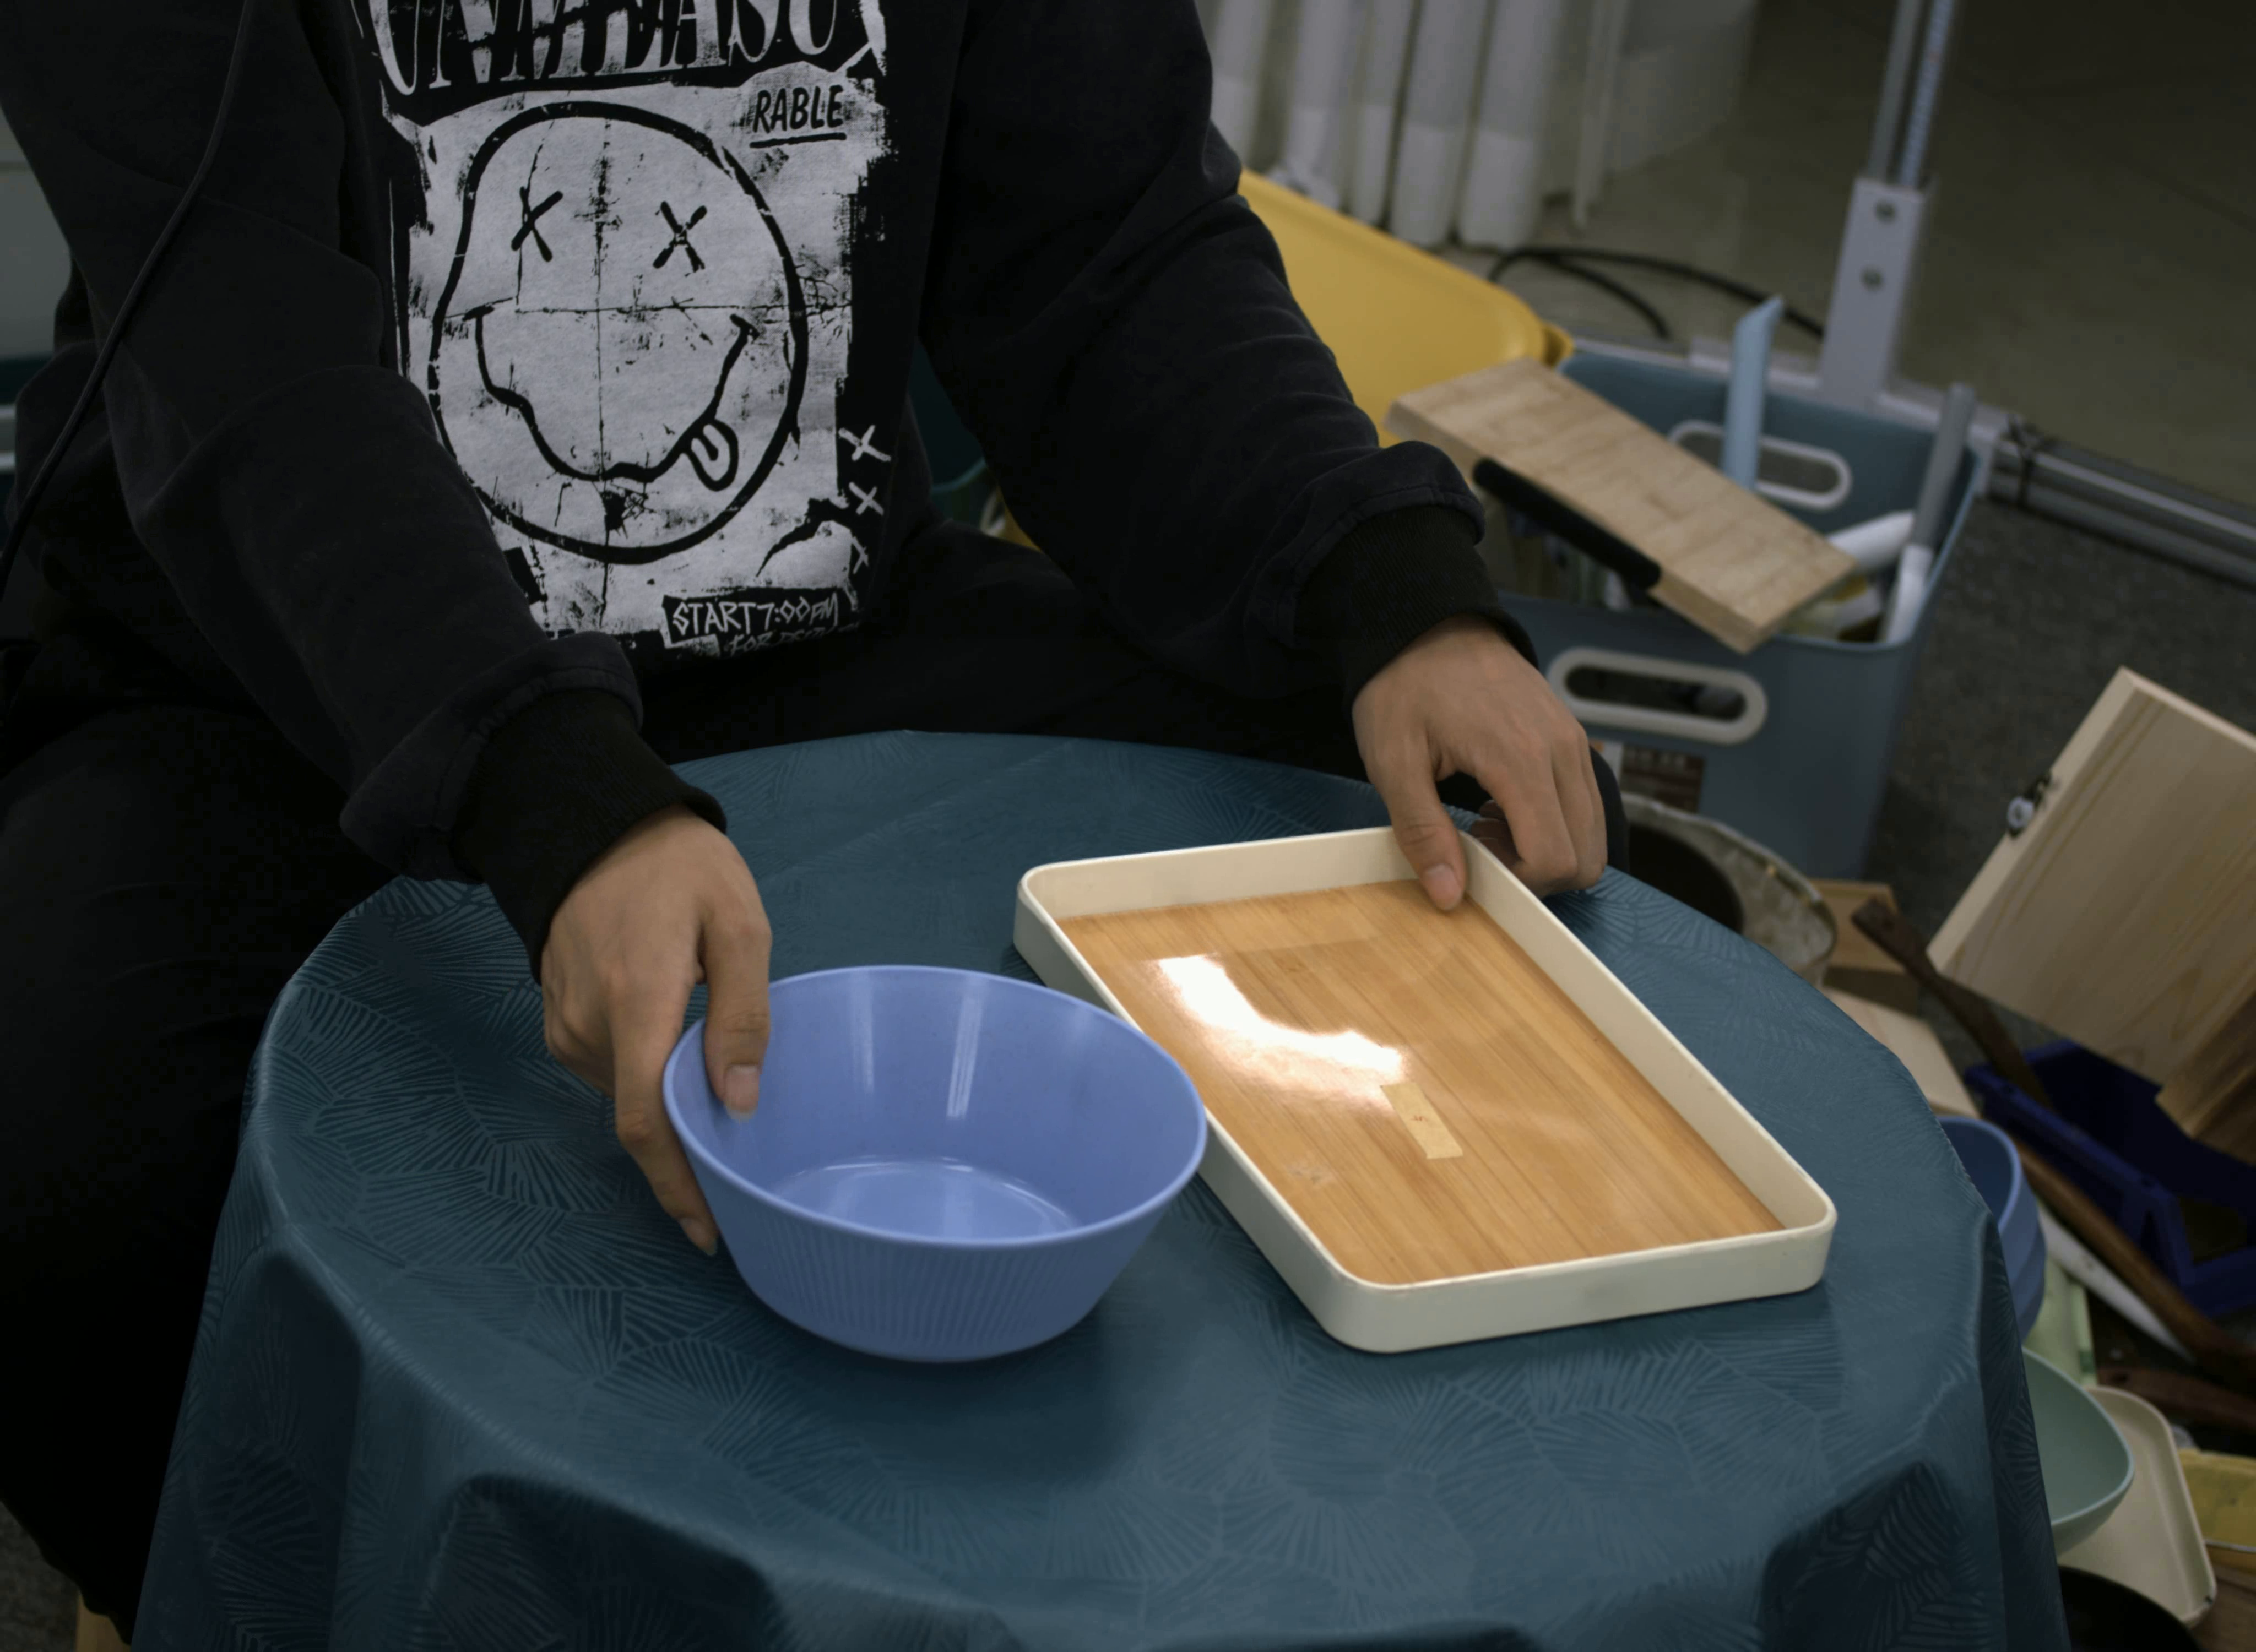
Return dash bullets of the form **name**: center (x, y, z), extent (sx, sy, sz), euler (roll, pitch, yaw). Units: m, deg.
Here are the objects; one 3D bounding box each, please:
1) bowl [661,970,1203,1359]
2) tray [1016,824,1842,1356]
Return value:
- **bowl**: center (-0.067, 0.115, 1.723), extent (0.175, 0.070, 0.177), euler (6, 26, -3)
- **tray**: center (0.099, 0.086, 1.868), extent (0.190, 0.027, 0.303), euler (-6, 30, -23)
